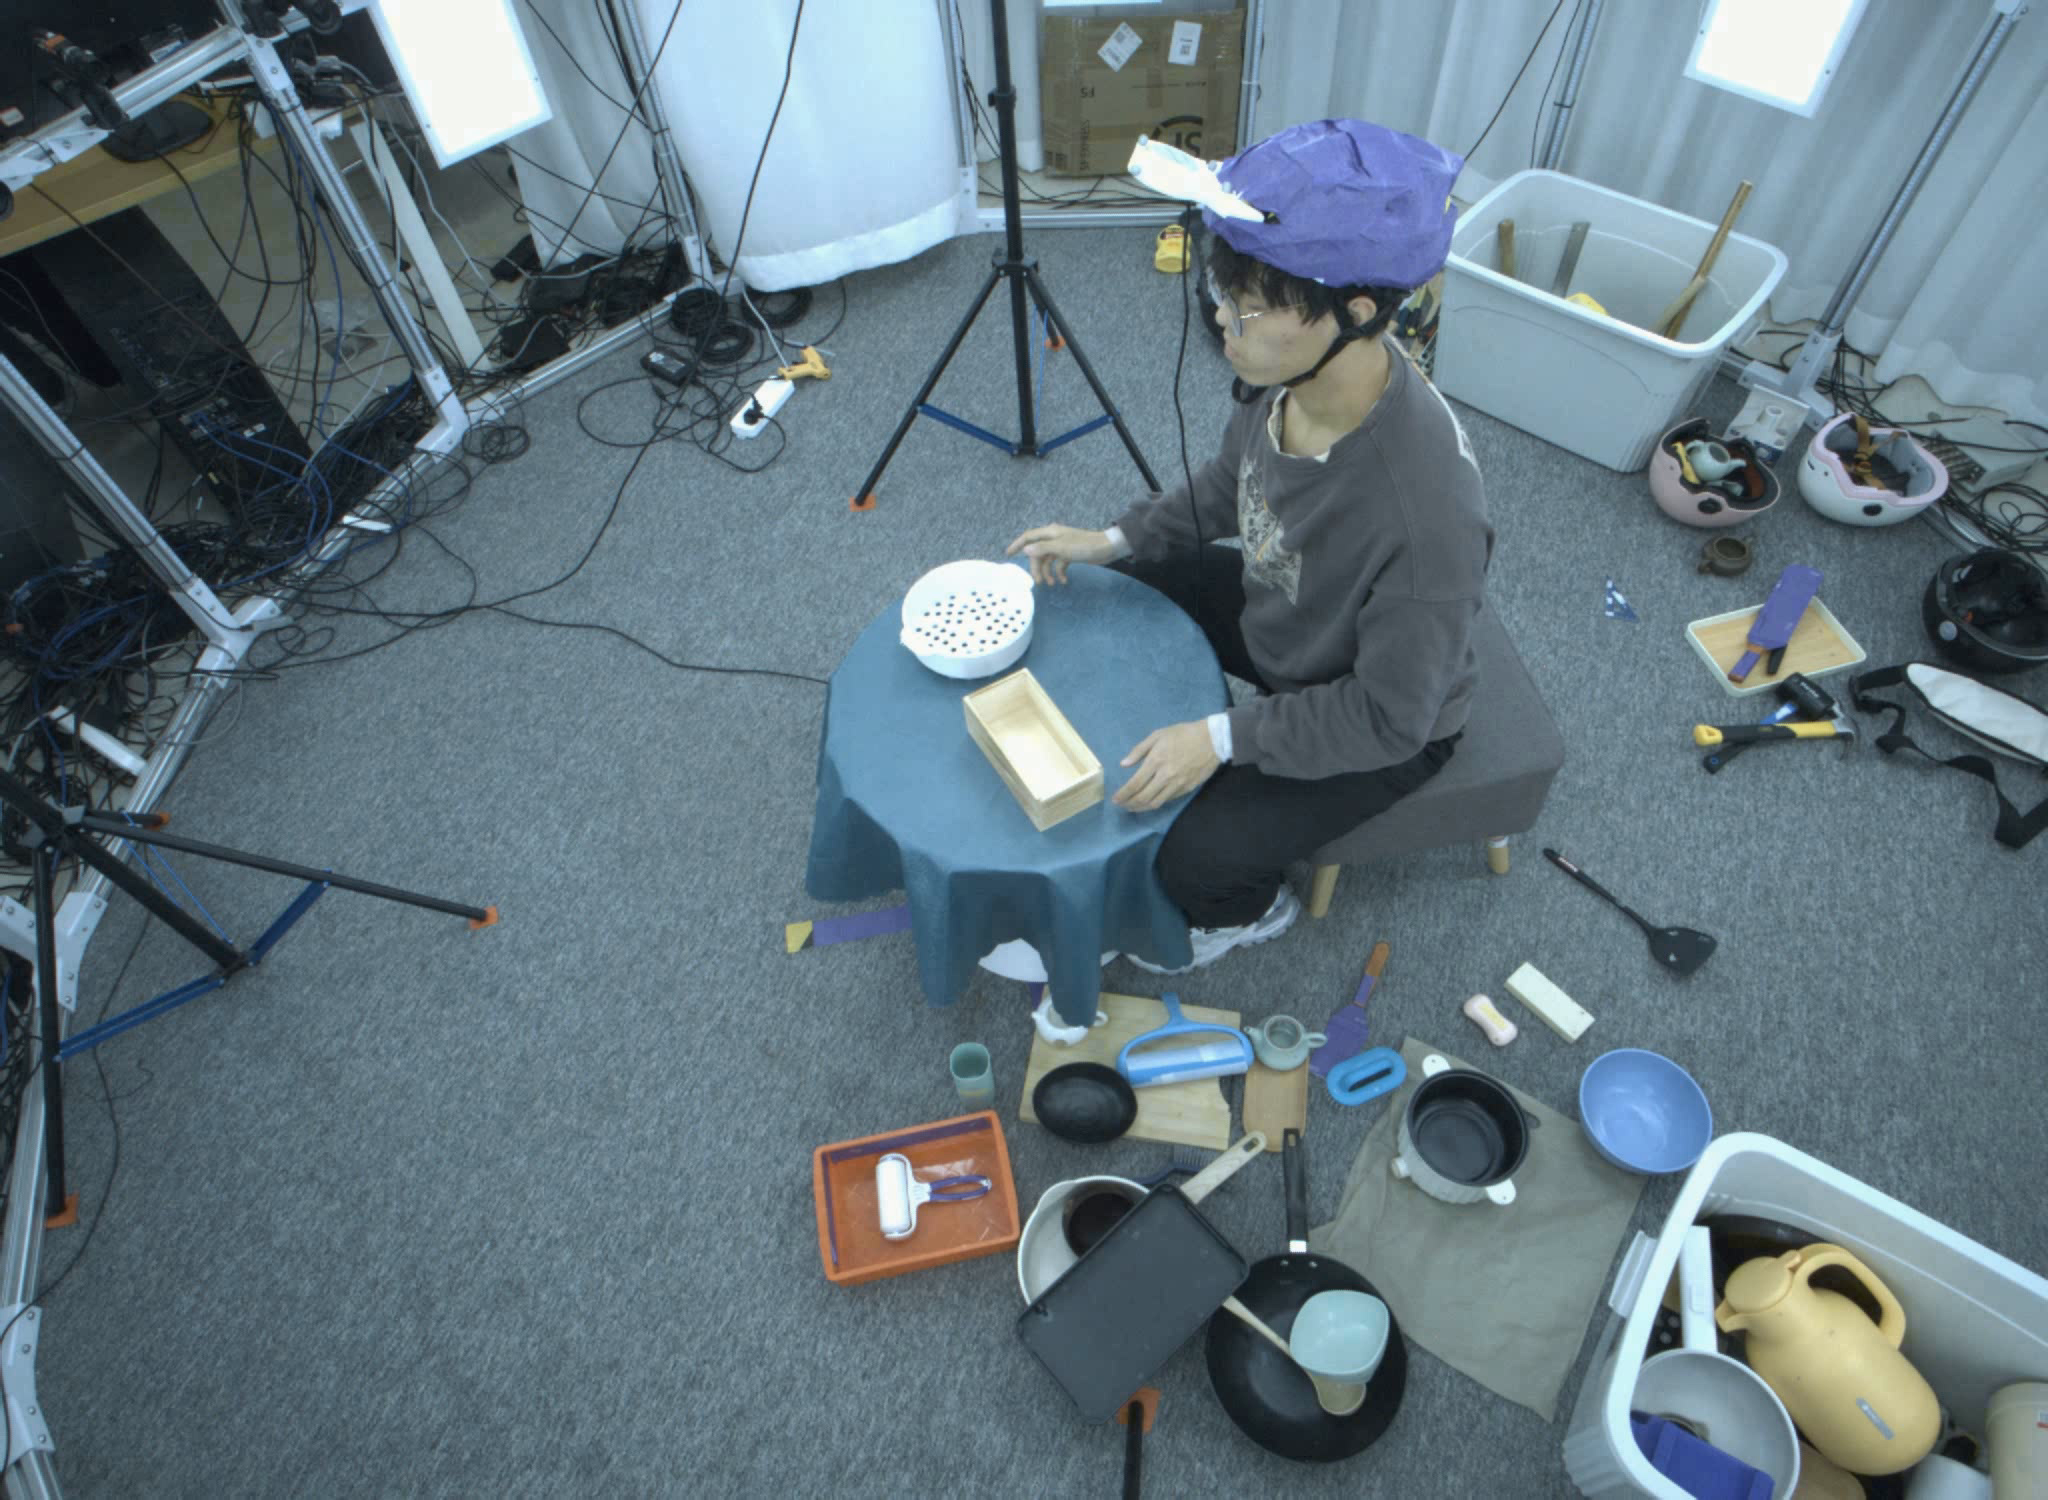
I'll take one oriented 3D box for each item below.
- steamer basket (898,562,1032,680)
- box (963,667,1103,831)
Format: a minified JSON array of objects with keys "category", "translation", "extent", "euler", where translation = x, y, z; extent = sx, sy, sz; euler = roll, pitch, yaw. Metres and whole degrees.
[{"category":"steamer basket","translation":[-0.088,-0.198,1.889],"extent":[0.232,0.070,0.198],"euler":[-35,61,-23]},{"category":"box","translation":[0.012,-0.004,1.737],"extent":[0.108,0.081,0.207],"euler":[-27,58,-17]}]
